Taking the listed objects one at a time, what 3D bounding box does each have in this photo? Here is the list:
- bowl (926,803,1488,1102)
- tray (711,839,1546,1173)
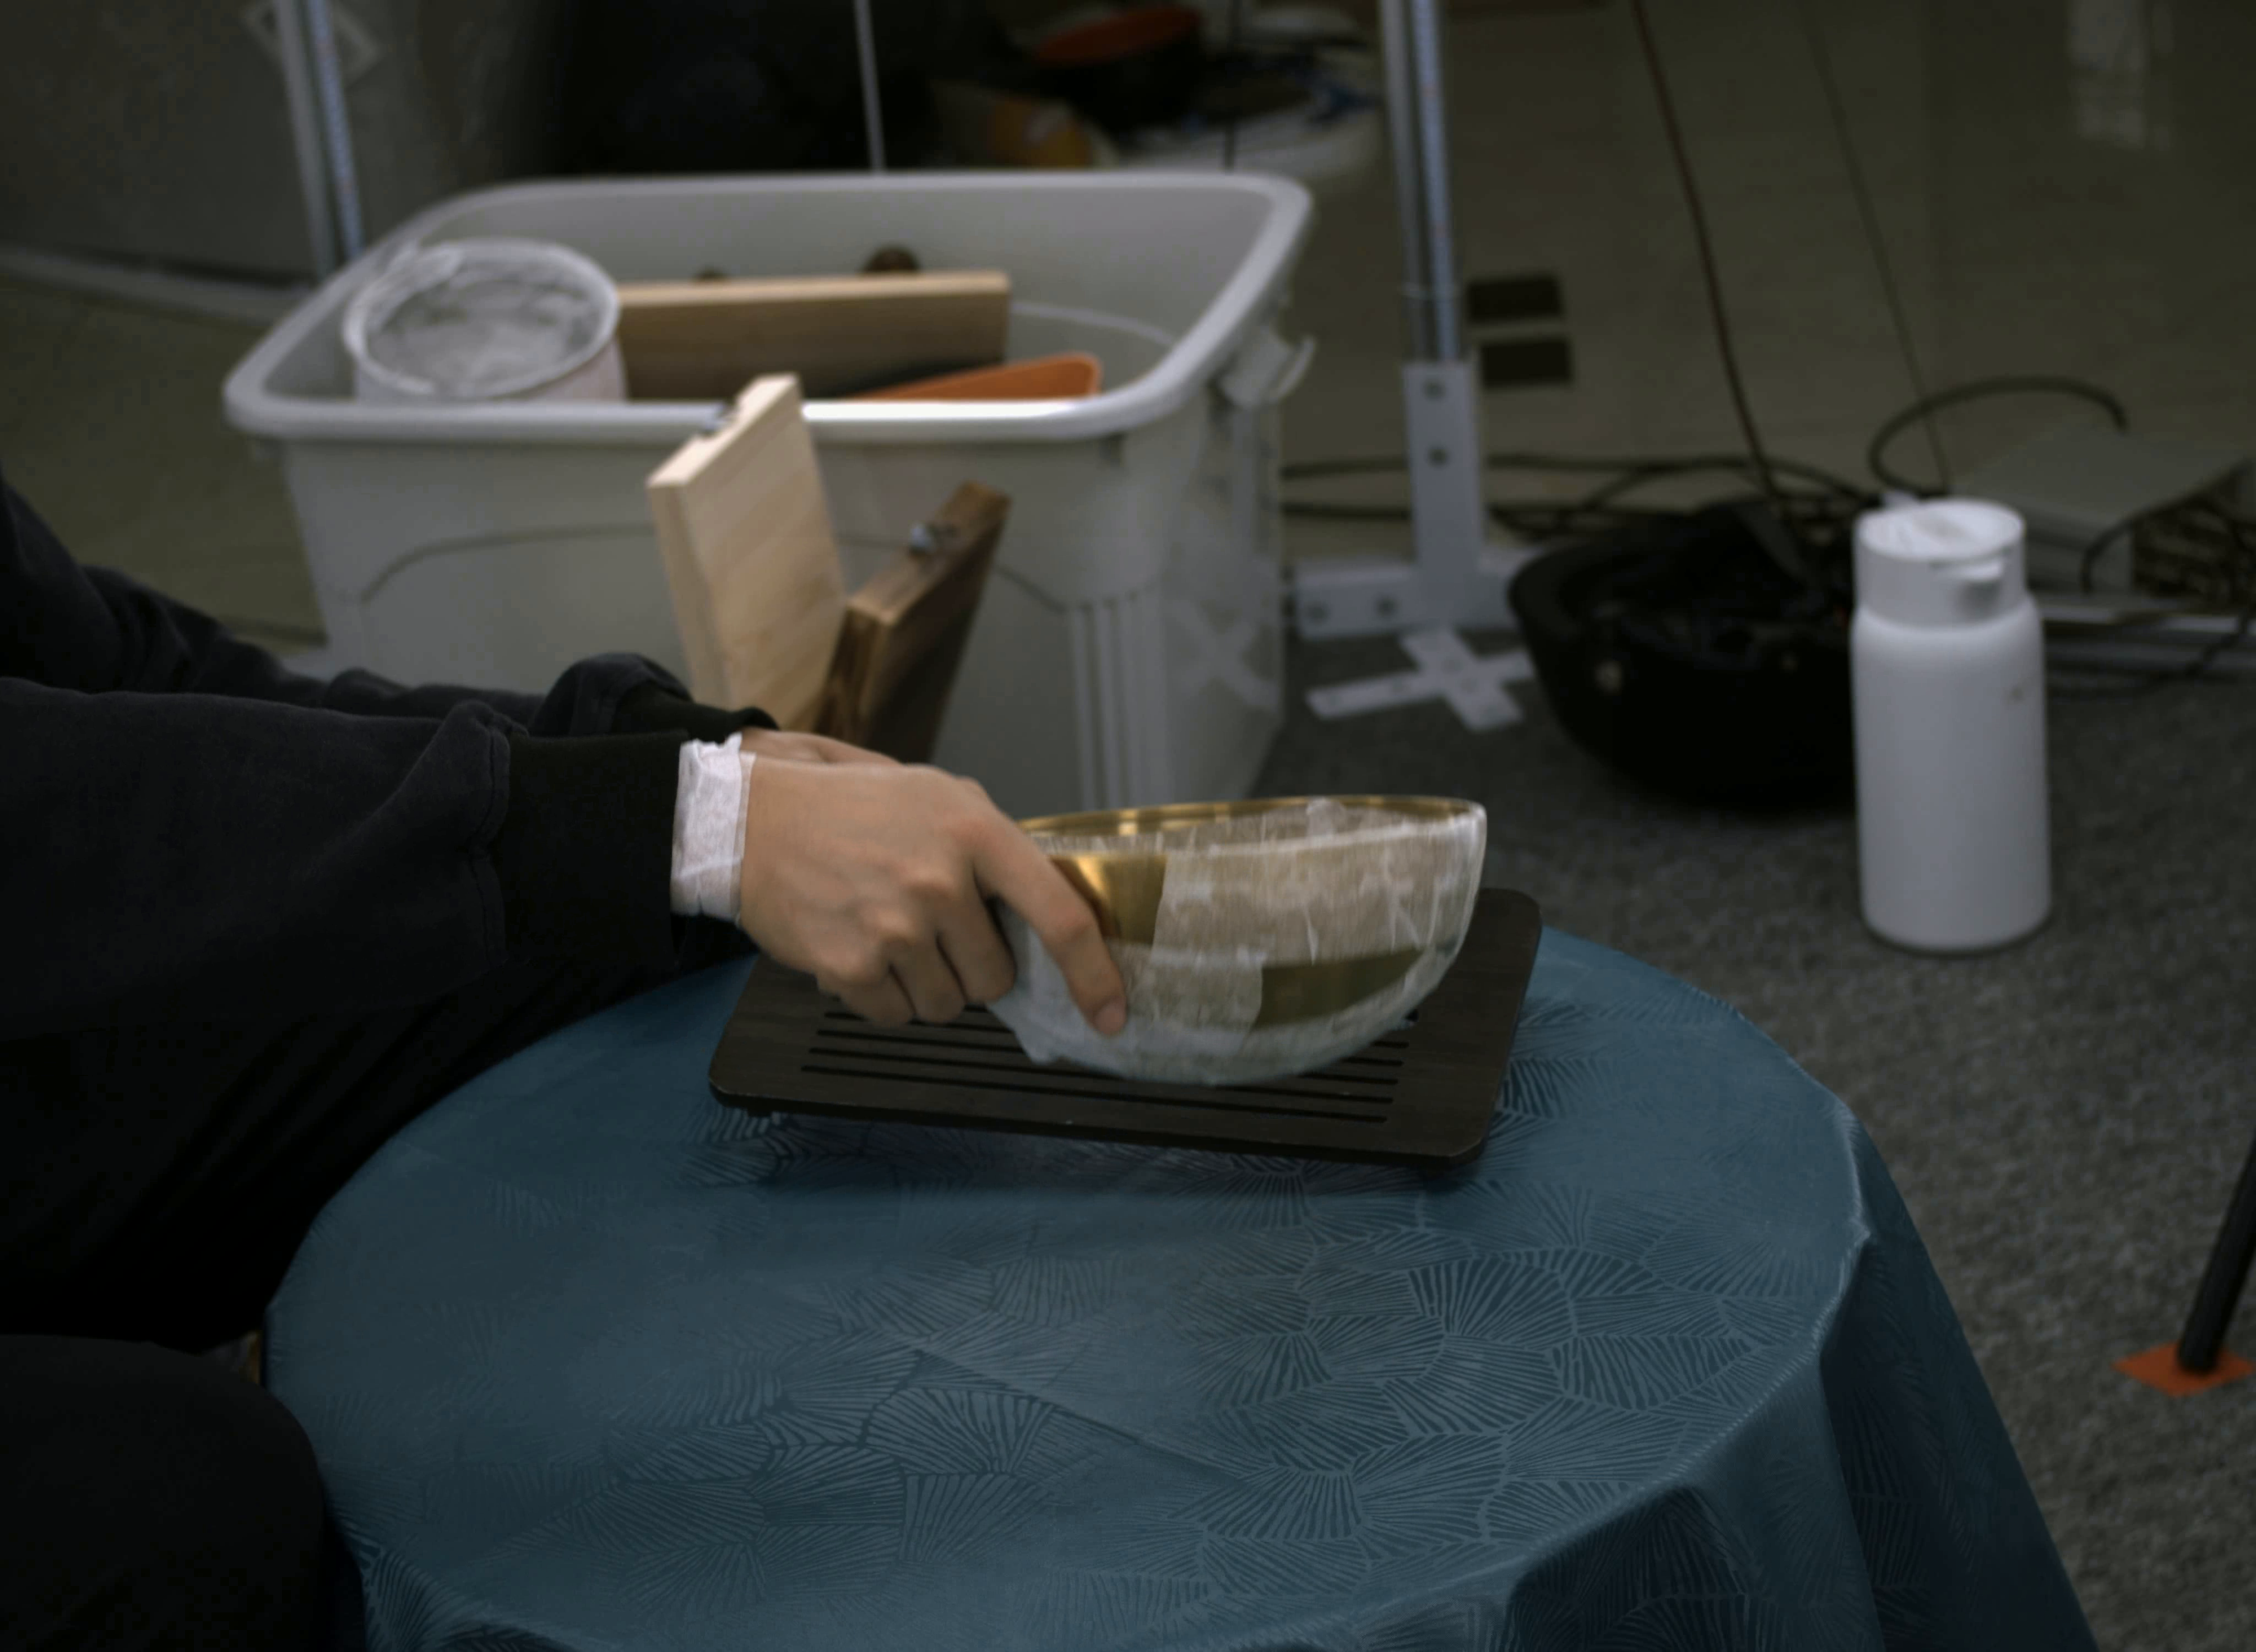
[{"bbox_3d":[0.029,0.048,2.030,0.214,0.095,0.213,-3,7,0],"label":"bowl"},{"bbox_3d":[0.002,0.070,2.222,0.305,0.019,0.167,4,37,12],"label":"tray"}]
